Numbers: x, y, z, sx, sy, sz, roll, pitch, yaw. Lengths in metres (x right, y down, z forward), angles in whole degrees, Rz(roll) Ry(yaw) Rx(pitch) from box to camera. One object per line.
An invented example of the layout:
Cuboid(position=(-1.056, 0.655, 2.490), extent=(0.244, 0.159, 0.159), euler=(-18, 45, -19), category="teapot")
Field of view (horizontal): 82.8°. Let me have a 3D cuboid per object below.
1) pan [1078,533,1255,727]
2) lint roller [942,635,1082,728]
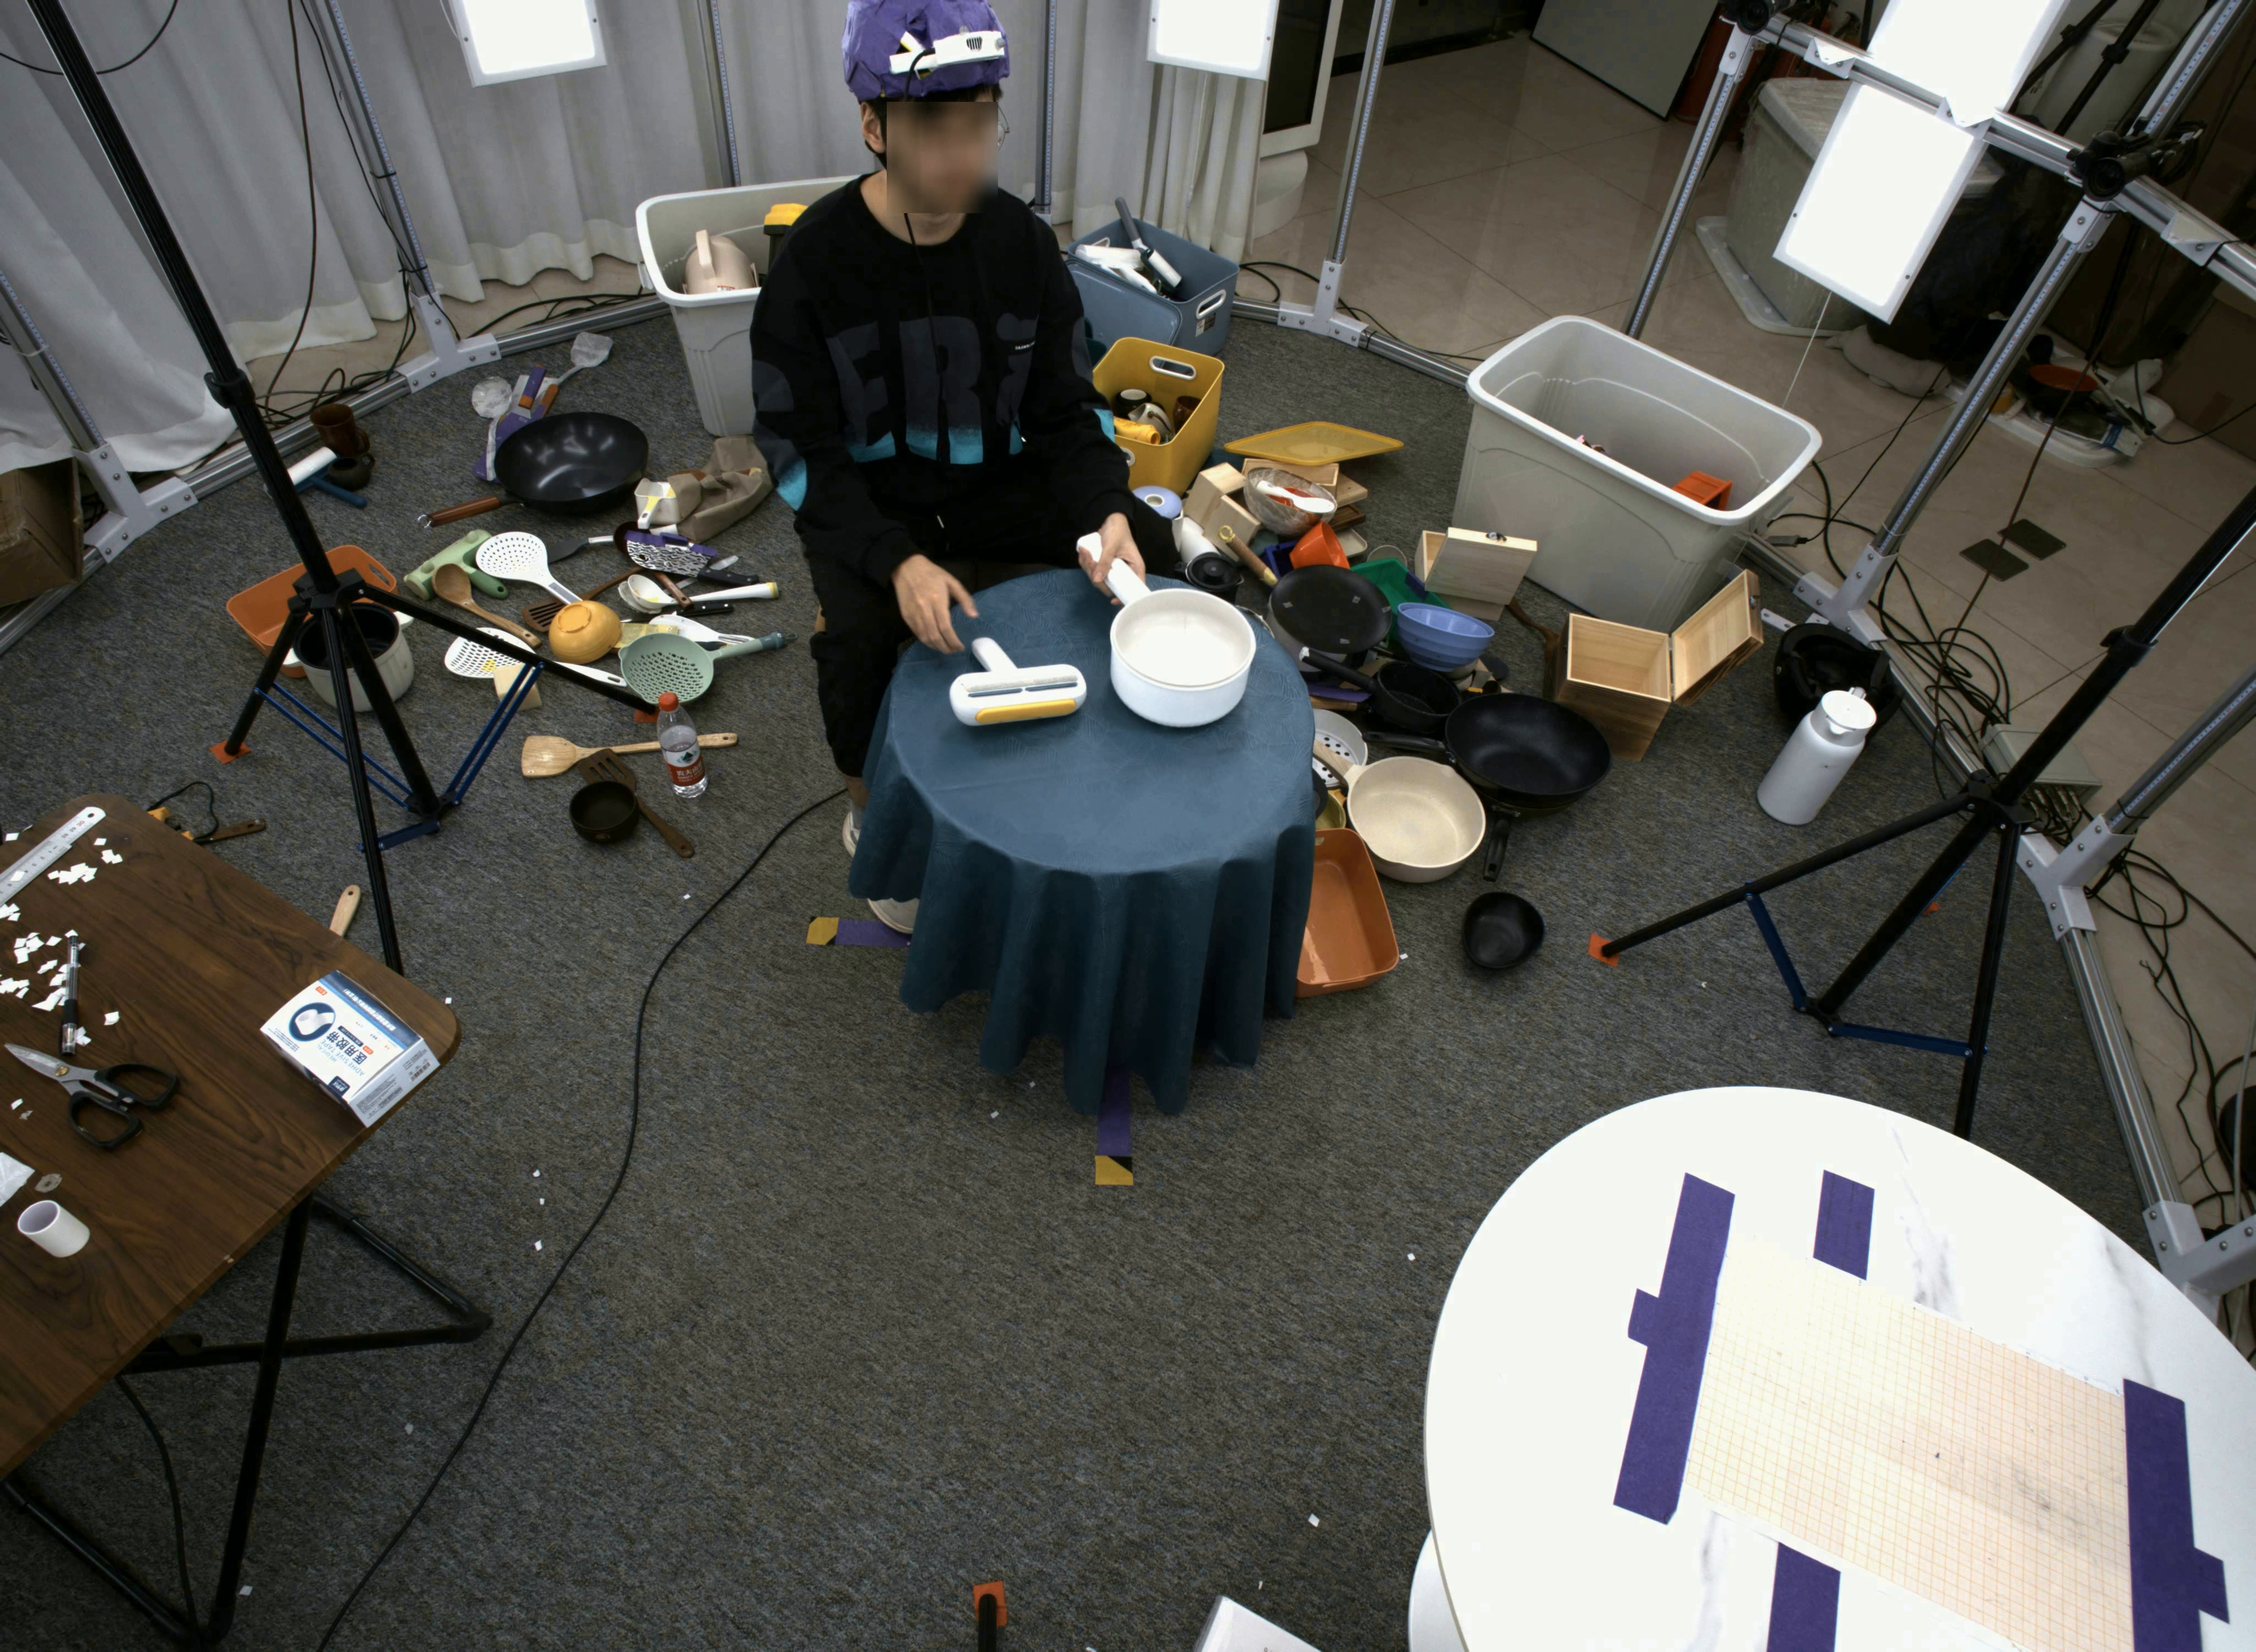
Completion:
Cuboid(position=(0.032, -0.283, 1.850), extent=(0.202, 0.099, 0.362), euler=(-24, 54, -22), category="pan")
Cuboid(position=(-0.176, -0.216, 1.801), extent=(0.192, 0.072, 0.197), euler=(-9, 49, -18), category="lint roller")
